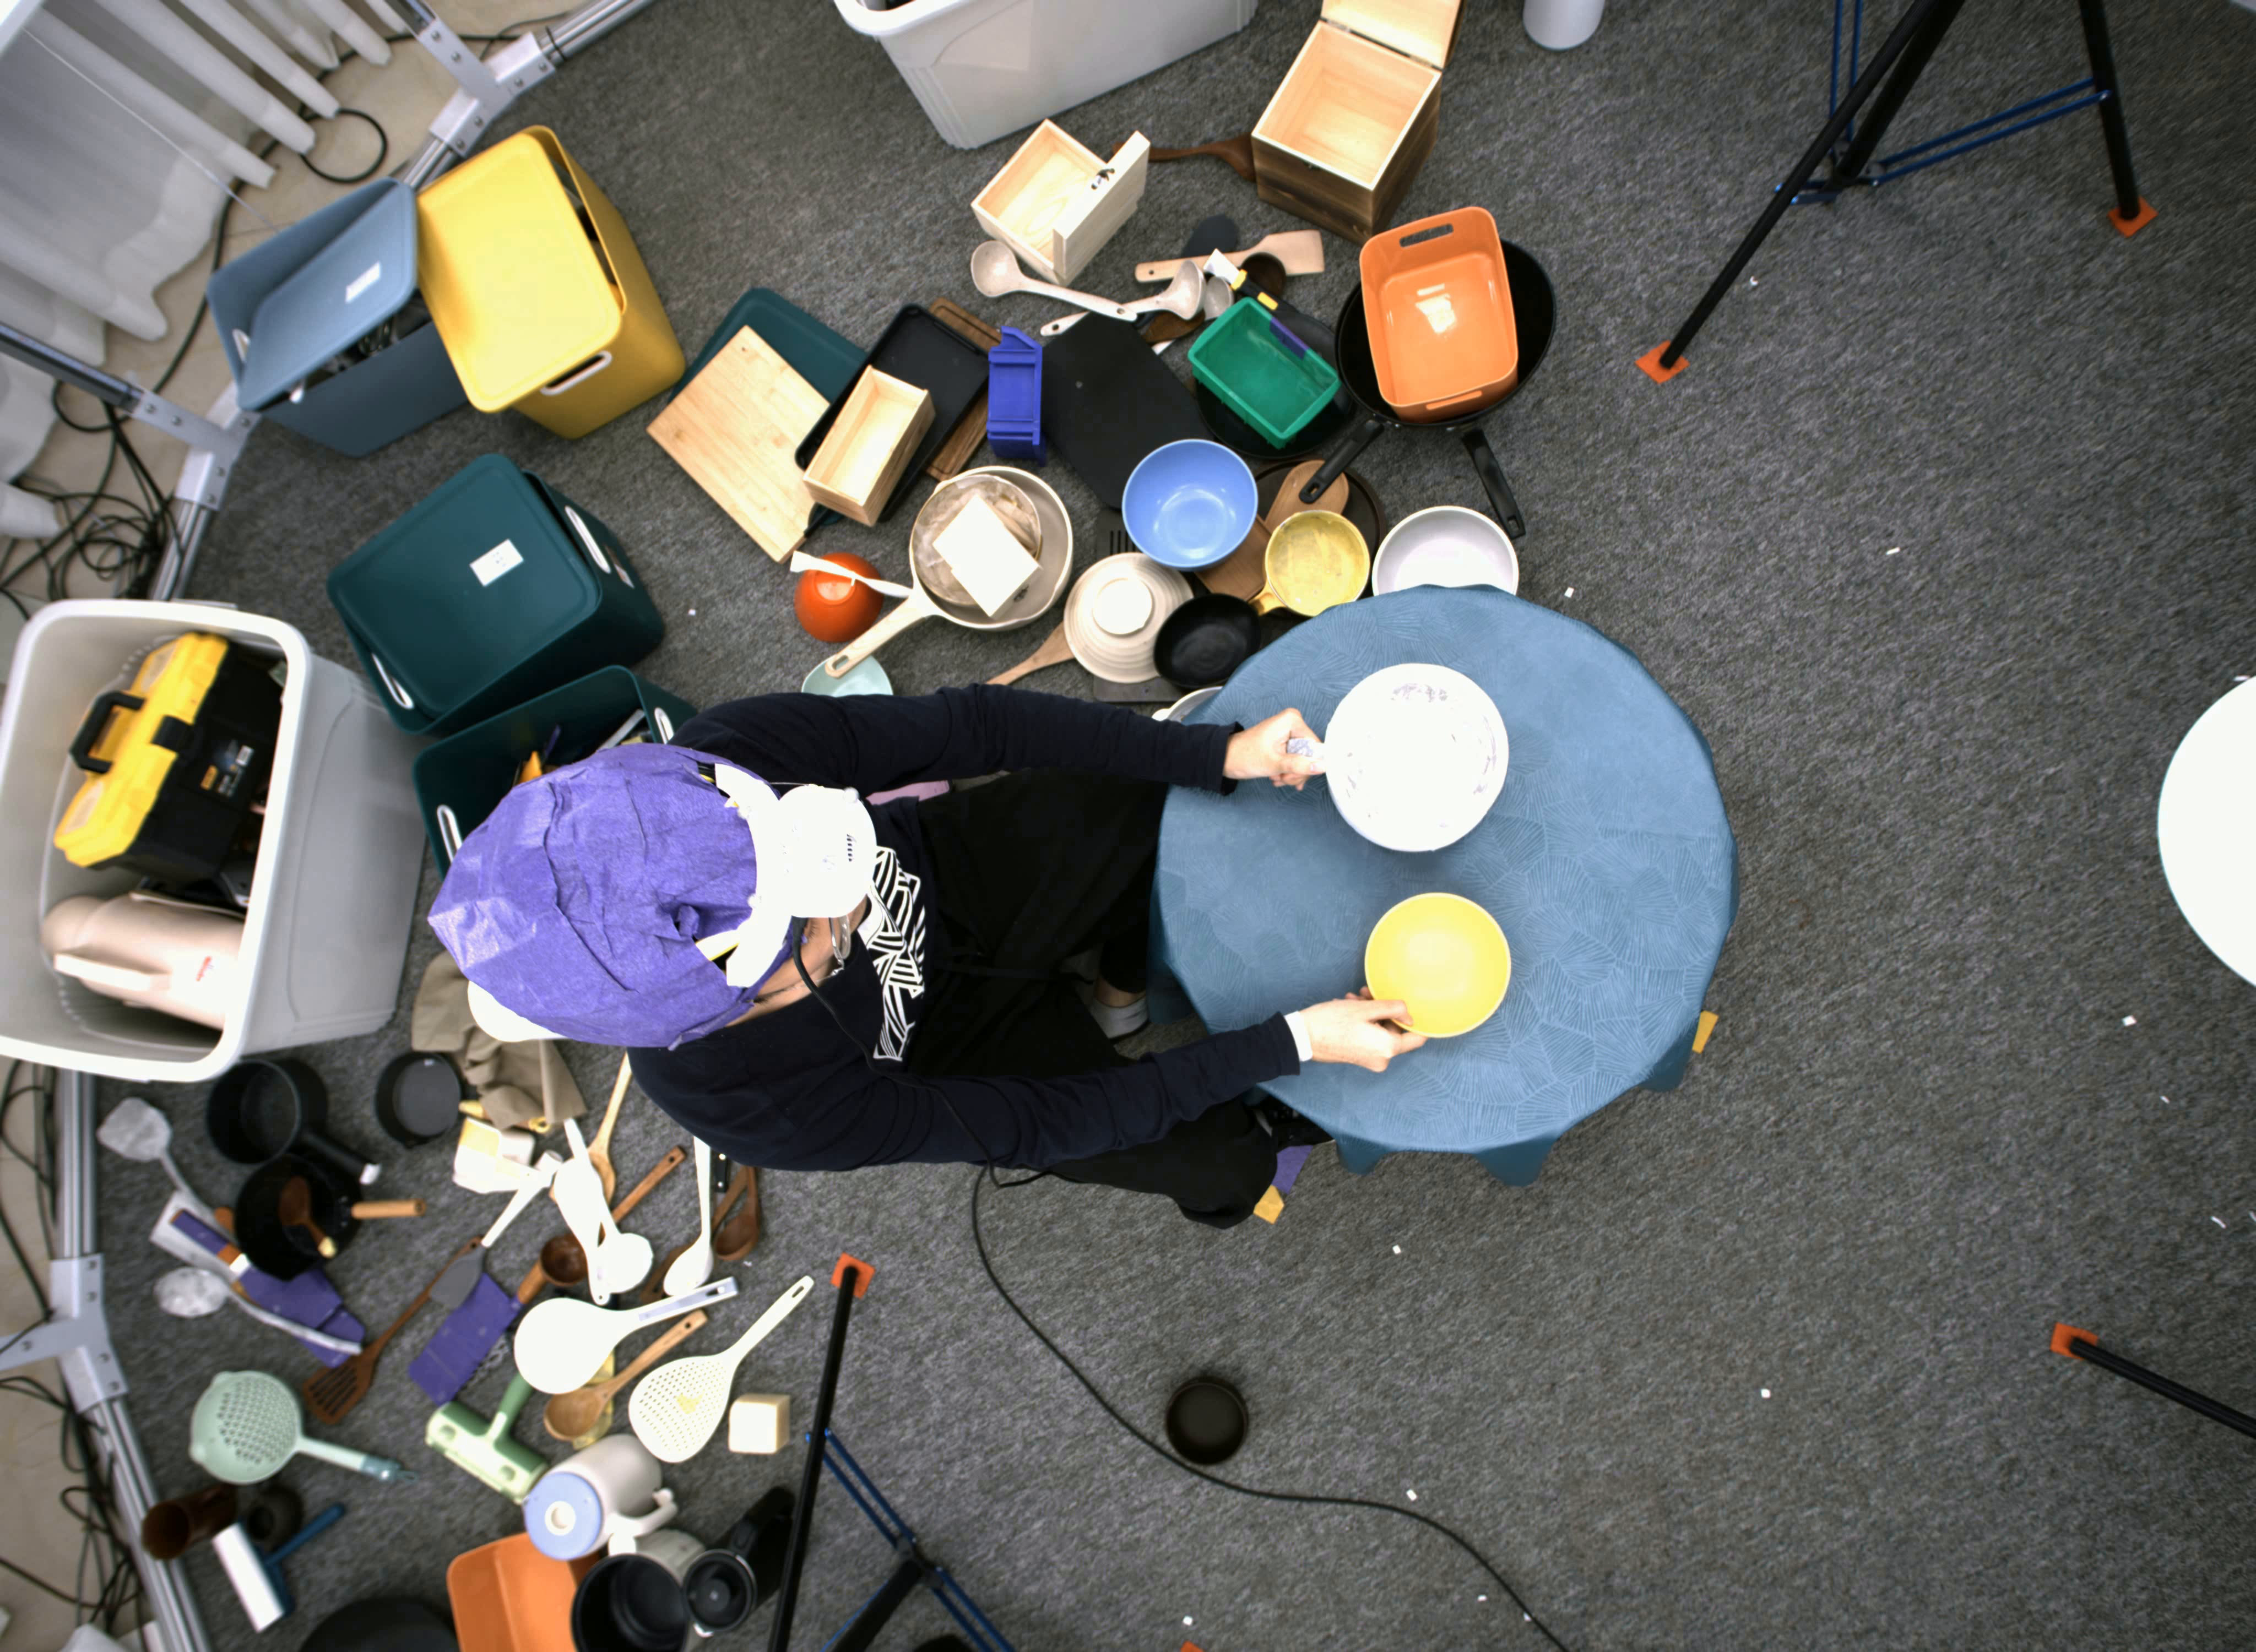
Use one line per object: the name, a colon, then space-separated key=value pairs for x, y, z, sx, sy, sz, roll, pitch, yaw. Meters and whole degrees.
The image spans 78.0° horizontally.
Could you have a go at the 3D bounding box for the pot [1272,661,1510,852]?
pot: x=0.262 y=-0.067 z=1.399 sx=0.234 sy=0.137 sz=0.177 roll=2 pitch=84 yaw=9

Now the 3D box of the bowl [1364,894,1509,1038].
bowl: x=0.314 y=0.140 z=1.413 sx=0.146 sy=0.060 sz=0.145 roll=0 pitch=91 yaw=10
